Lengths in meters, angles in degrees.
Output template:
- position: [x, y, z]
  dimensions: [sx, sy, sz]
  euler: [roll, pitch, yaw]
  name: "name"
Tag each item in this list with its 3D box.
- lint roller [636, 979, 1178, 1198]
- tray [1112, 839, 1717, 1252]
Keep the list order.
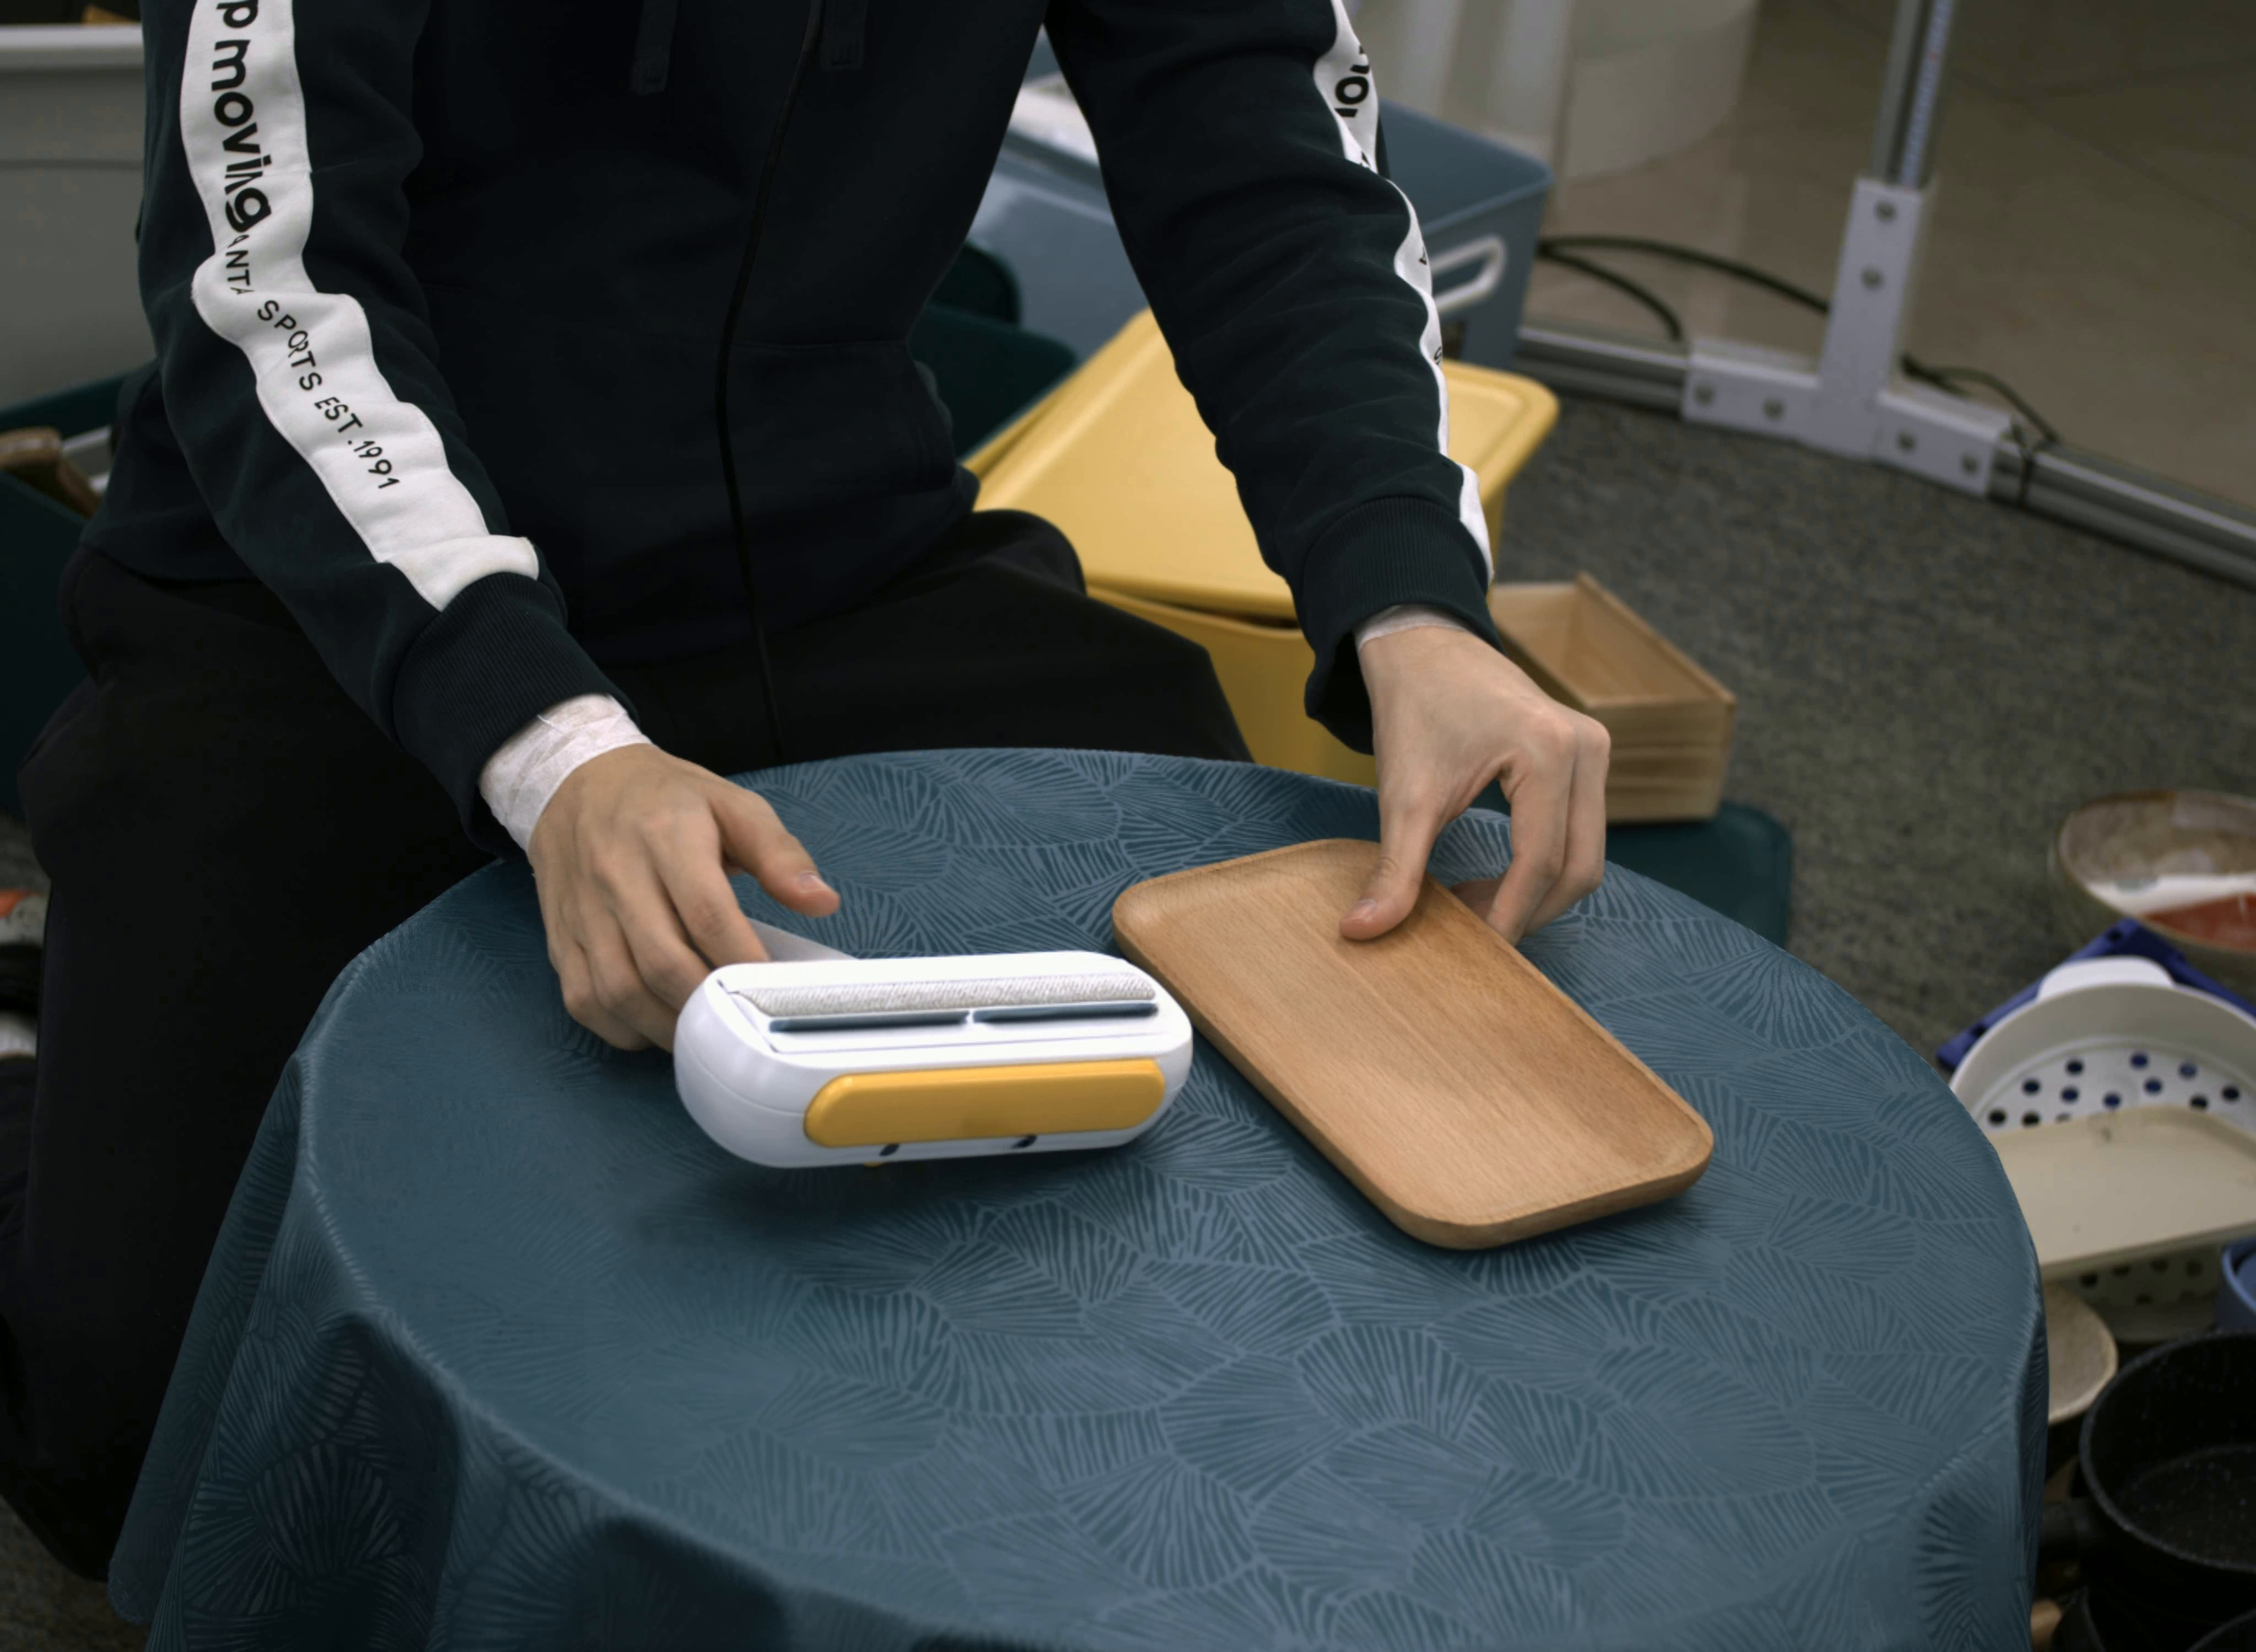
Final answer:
- position: [-0.102, 0.078, 1.831]
  dimensions: [0.191, 0.074, 0.194]
  euler: [-1, 12, -31]
  name: "lint roller"
- position: [0.098, 0.075, 1.889]
  dimensions: [0.130, 0.023, 0.253]
  euler: [-10, 31, -25]
  name: "tray"
